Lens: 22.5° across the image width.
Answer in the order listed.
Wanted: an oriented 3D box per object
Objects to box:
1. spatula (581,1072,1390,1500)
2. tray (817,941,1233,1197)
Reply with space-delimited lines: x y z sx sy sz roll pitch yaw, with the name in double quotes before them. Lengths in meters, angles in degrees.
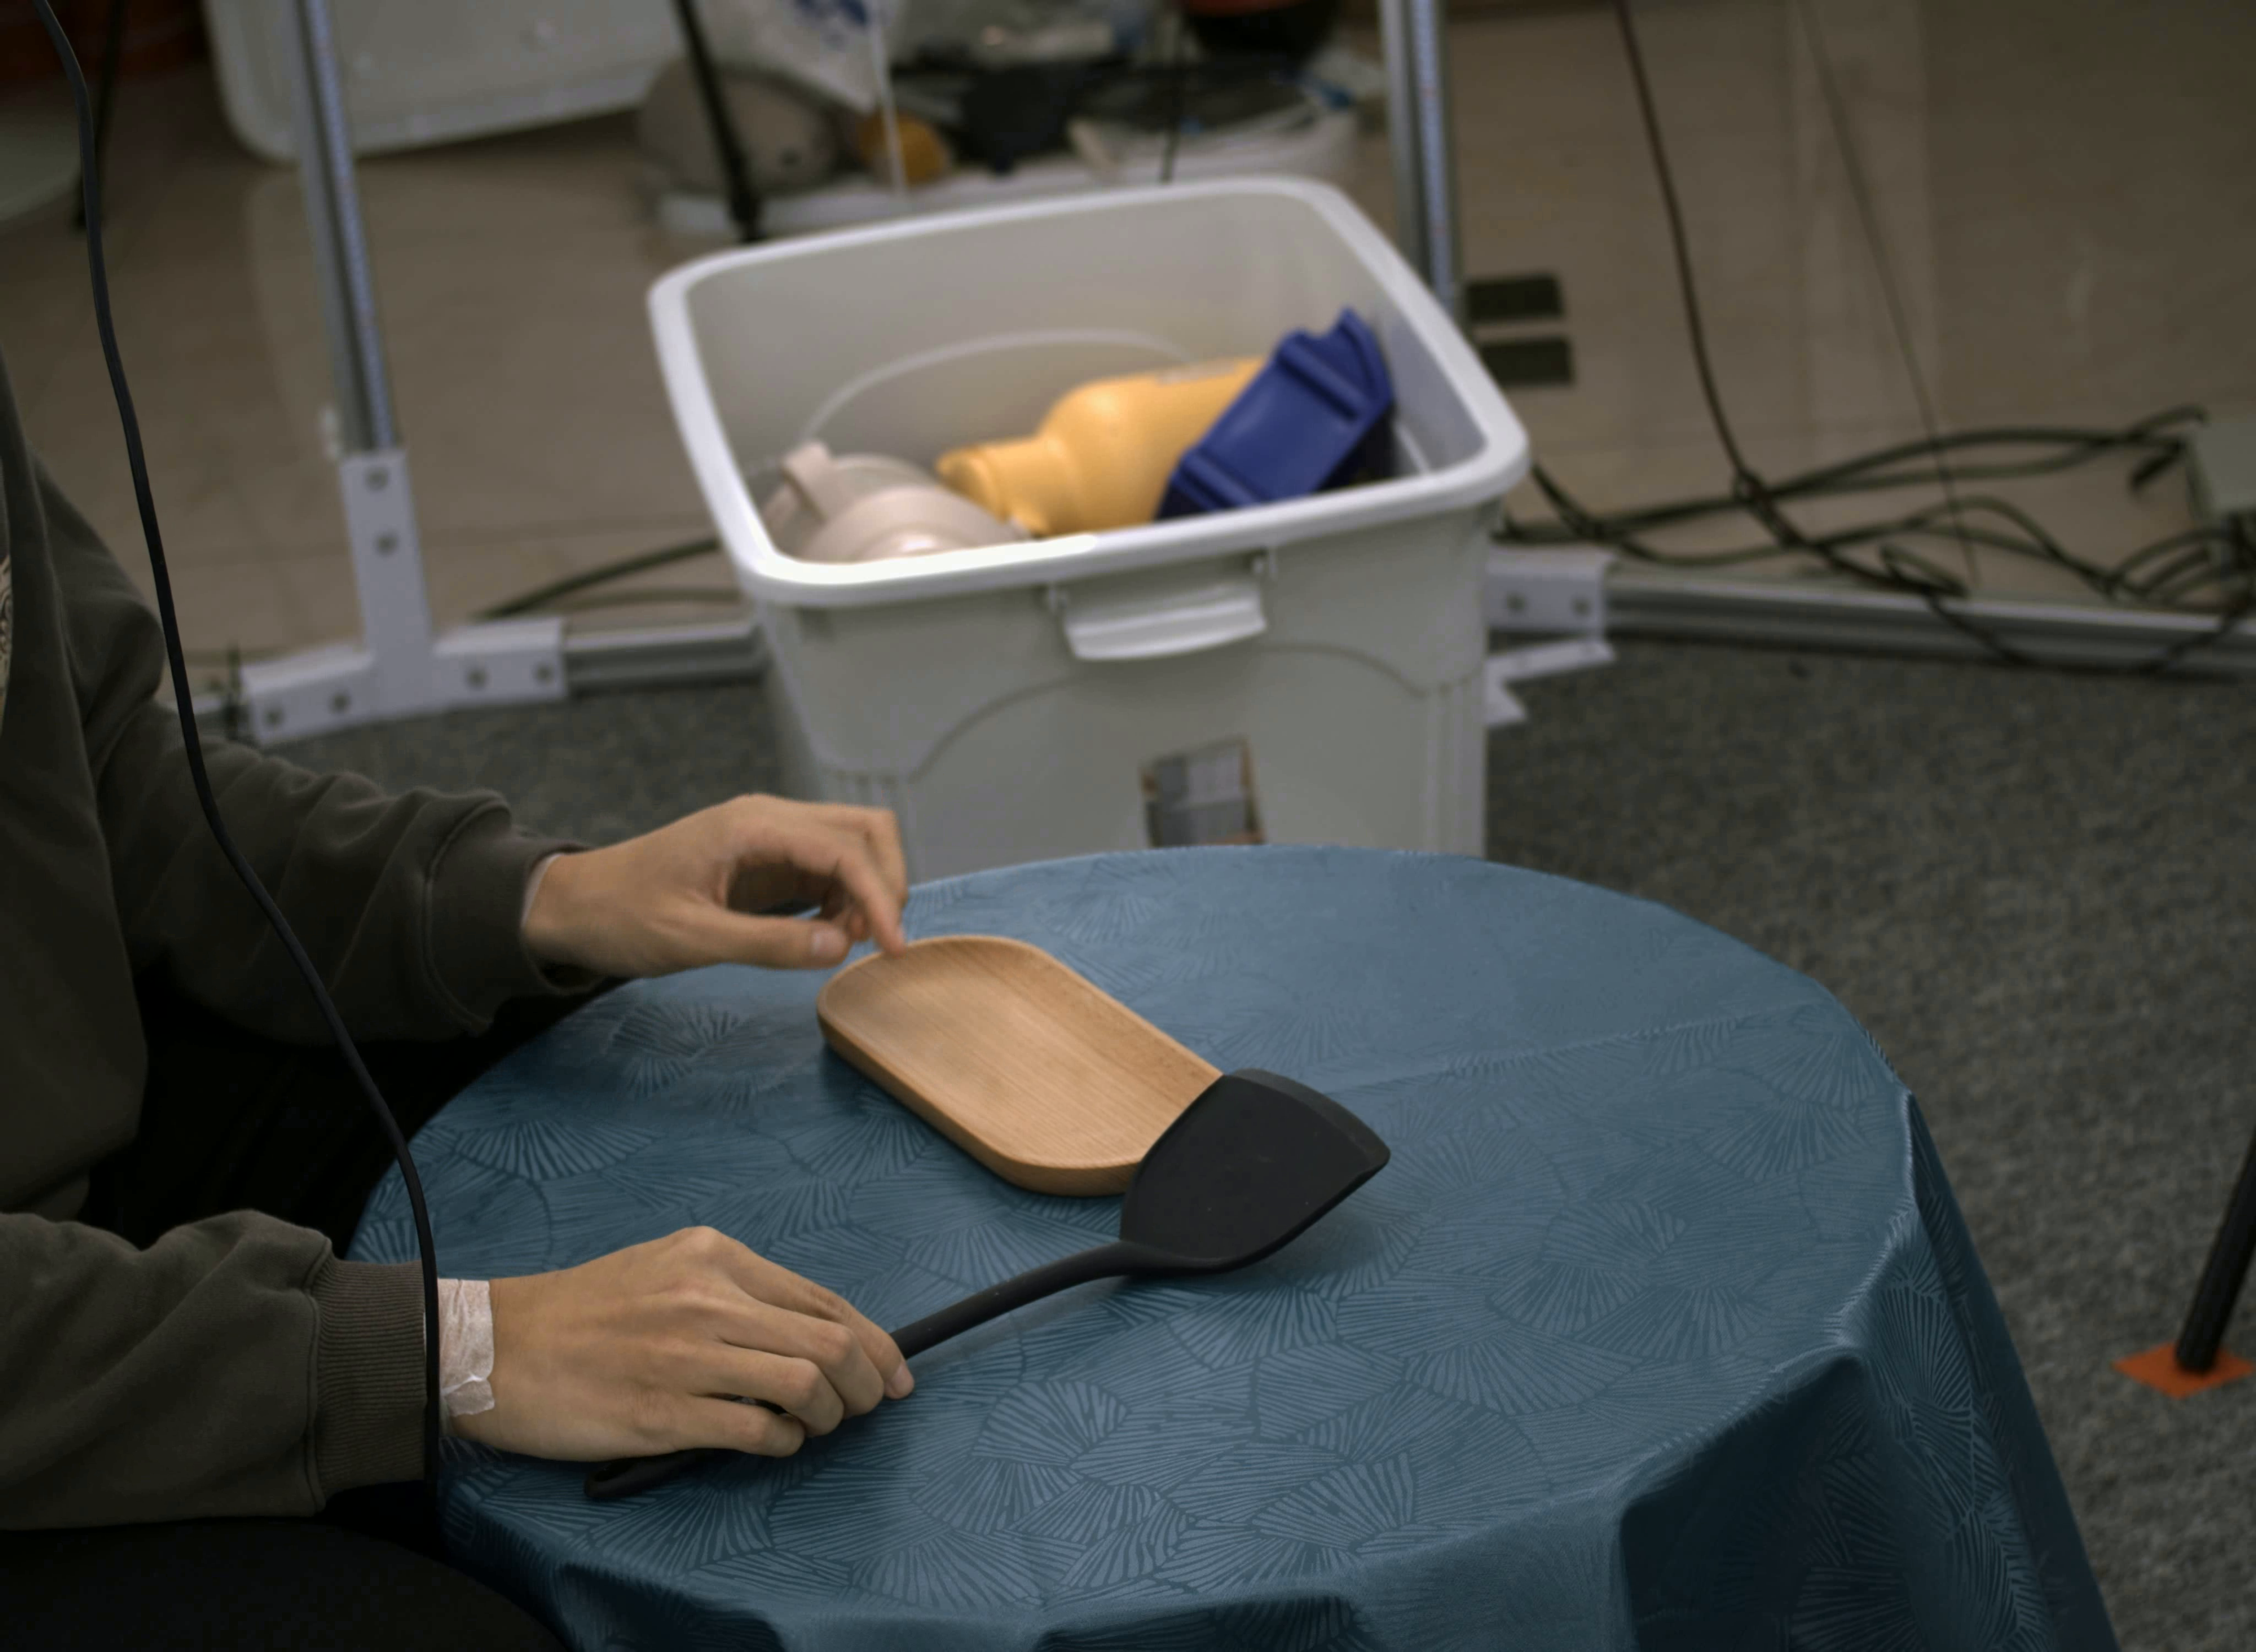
"spatula" -0.057 0.170 2.050 0.324 0.041 0.099 -20 28 -27
"tray" -0.042 0.094 2.234 0.101 0.020 0.228 -20 29 -25
